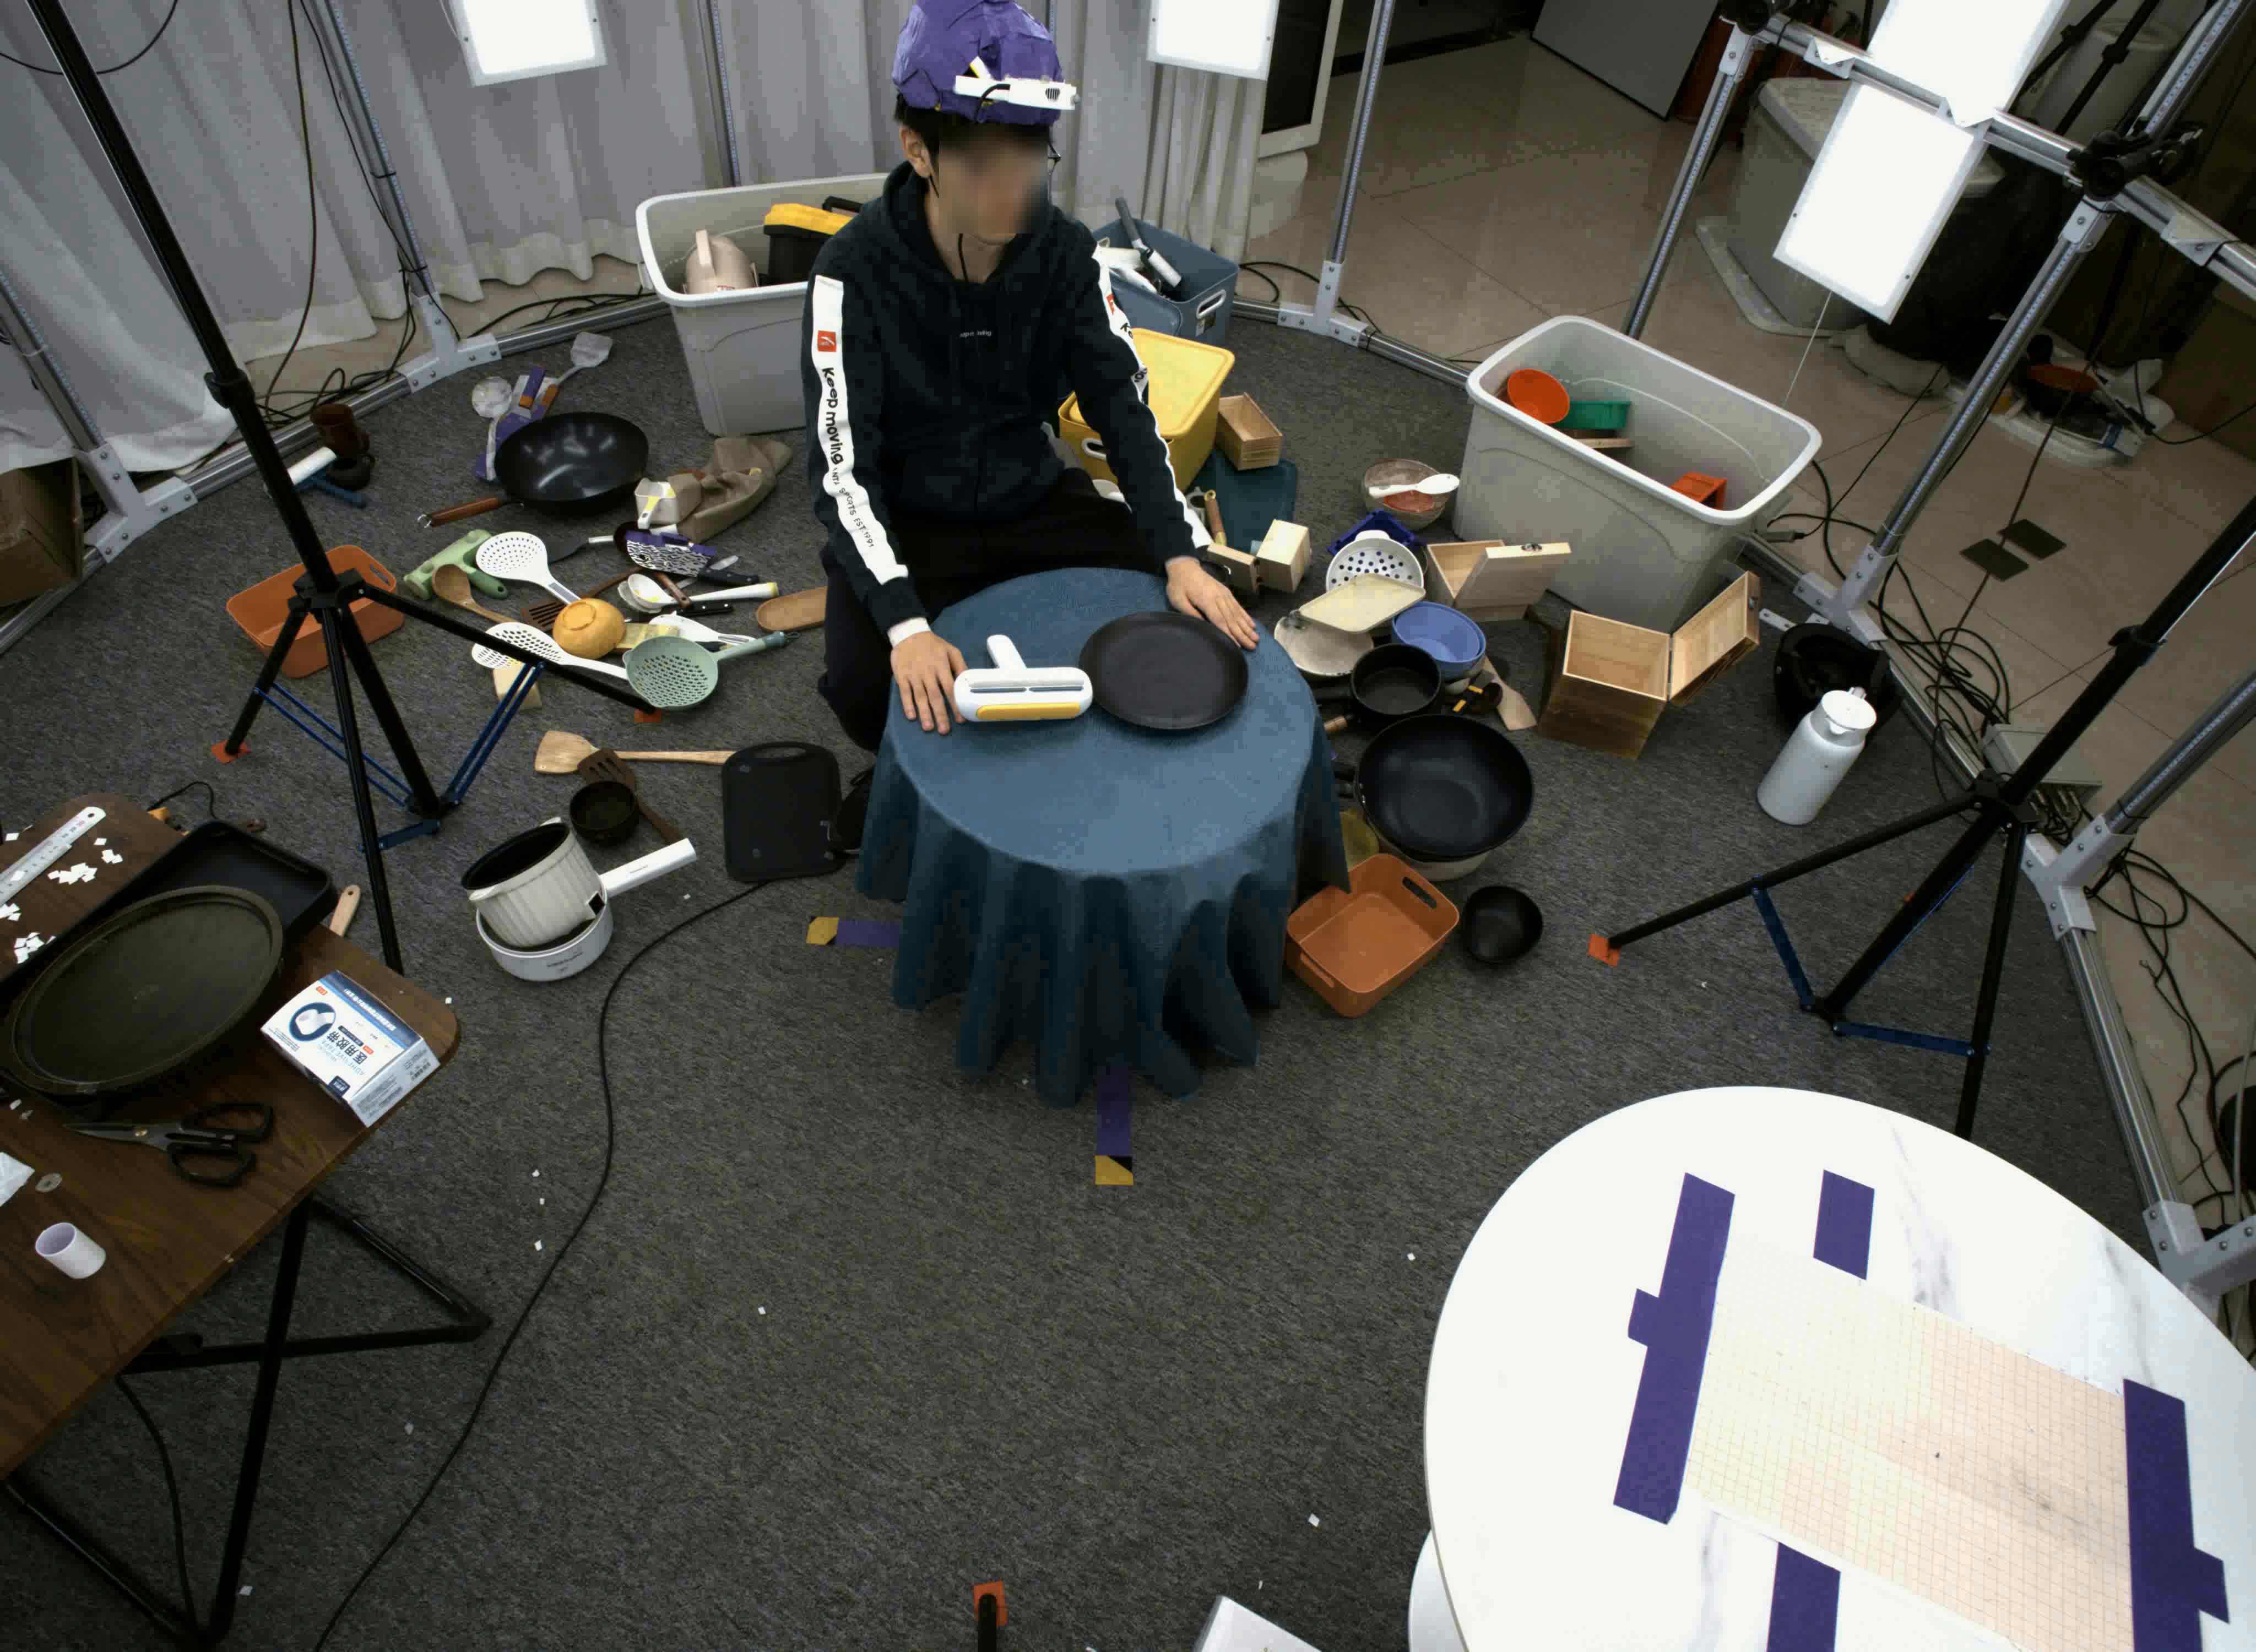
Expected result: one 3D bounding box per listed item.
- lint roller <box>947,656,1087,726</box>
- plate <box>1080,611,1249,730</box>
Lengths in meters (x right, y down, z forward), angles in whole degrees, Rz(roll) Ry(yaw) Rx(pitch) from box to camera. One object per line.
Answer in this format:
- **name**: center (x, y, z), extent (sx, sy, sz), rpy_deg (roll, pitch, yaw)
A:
- **lint roller**: center (-0.164, -0.204, 1.815), extent (0.192, 0.072, 0.197), rpy_deg (-1, 35, -13)
- **plate**: center (0.052, -0.221, 1.848), extent (0.244, 0.023, 0.250), rpy_deg (1, 49, -2)
